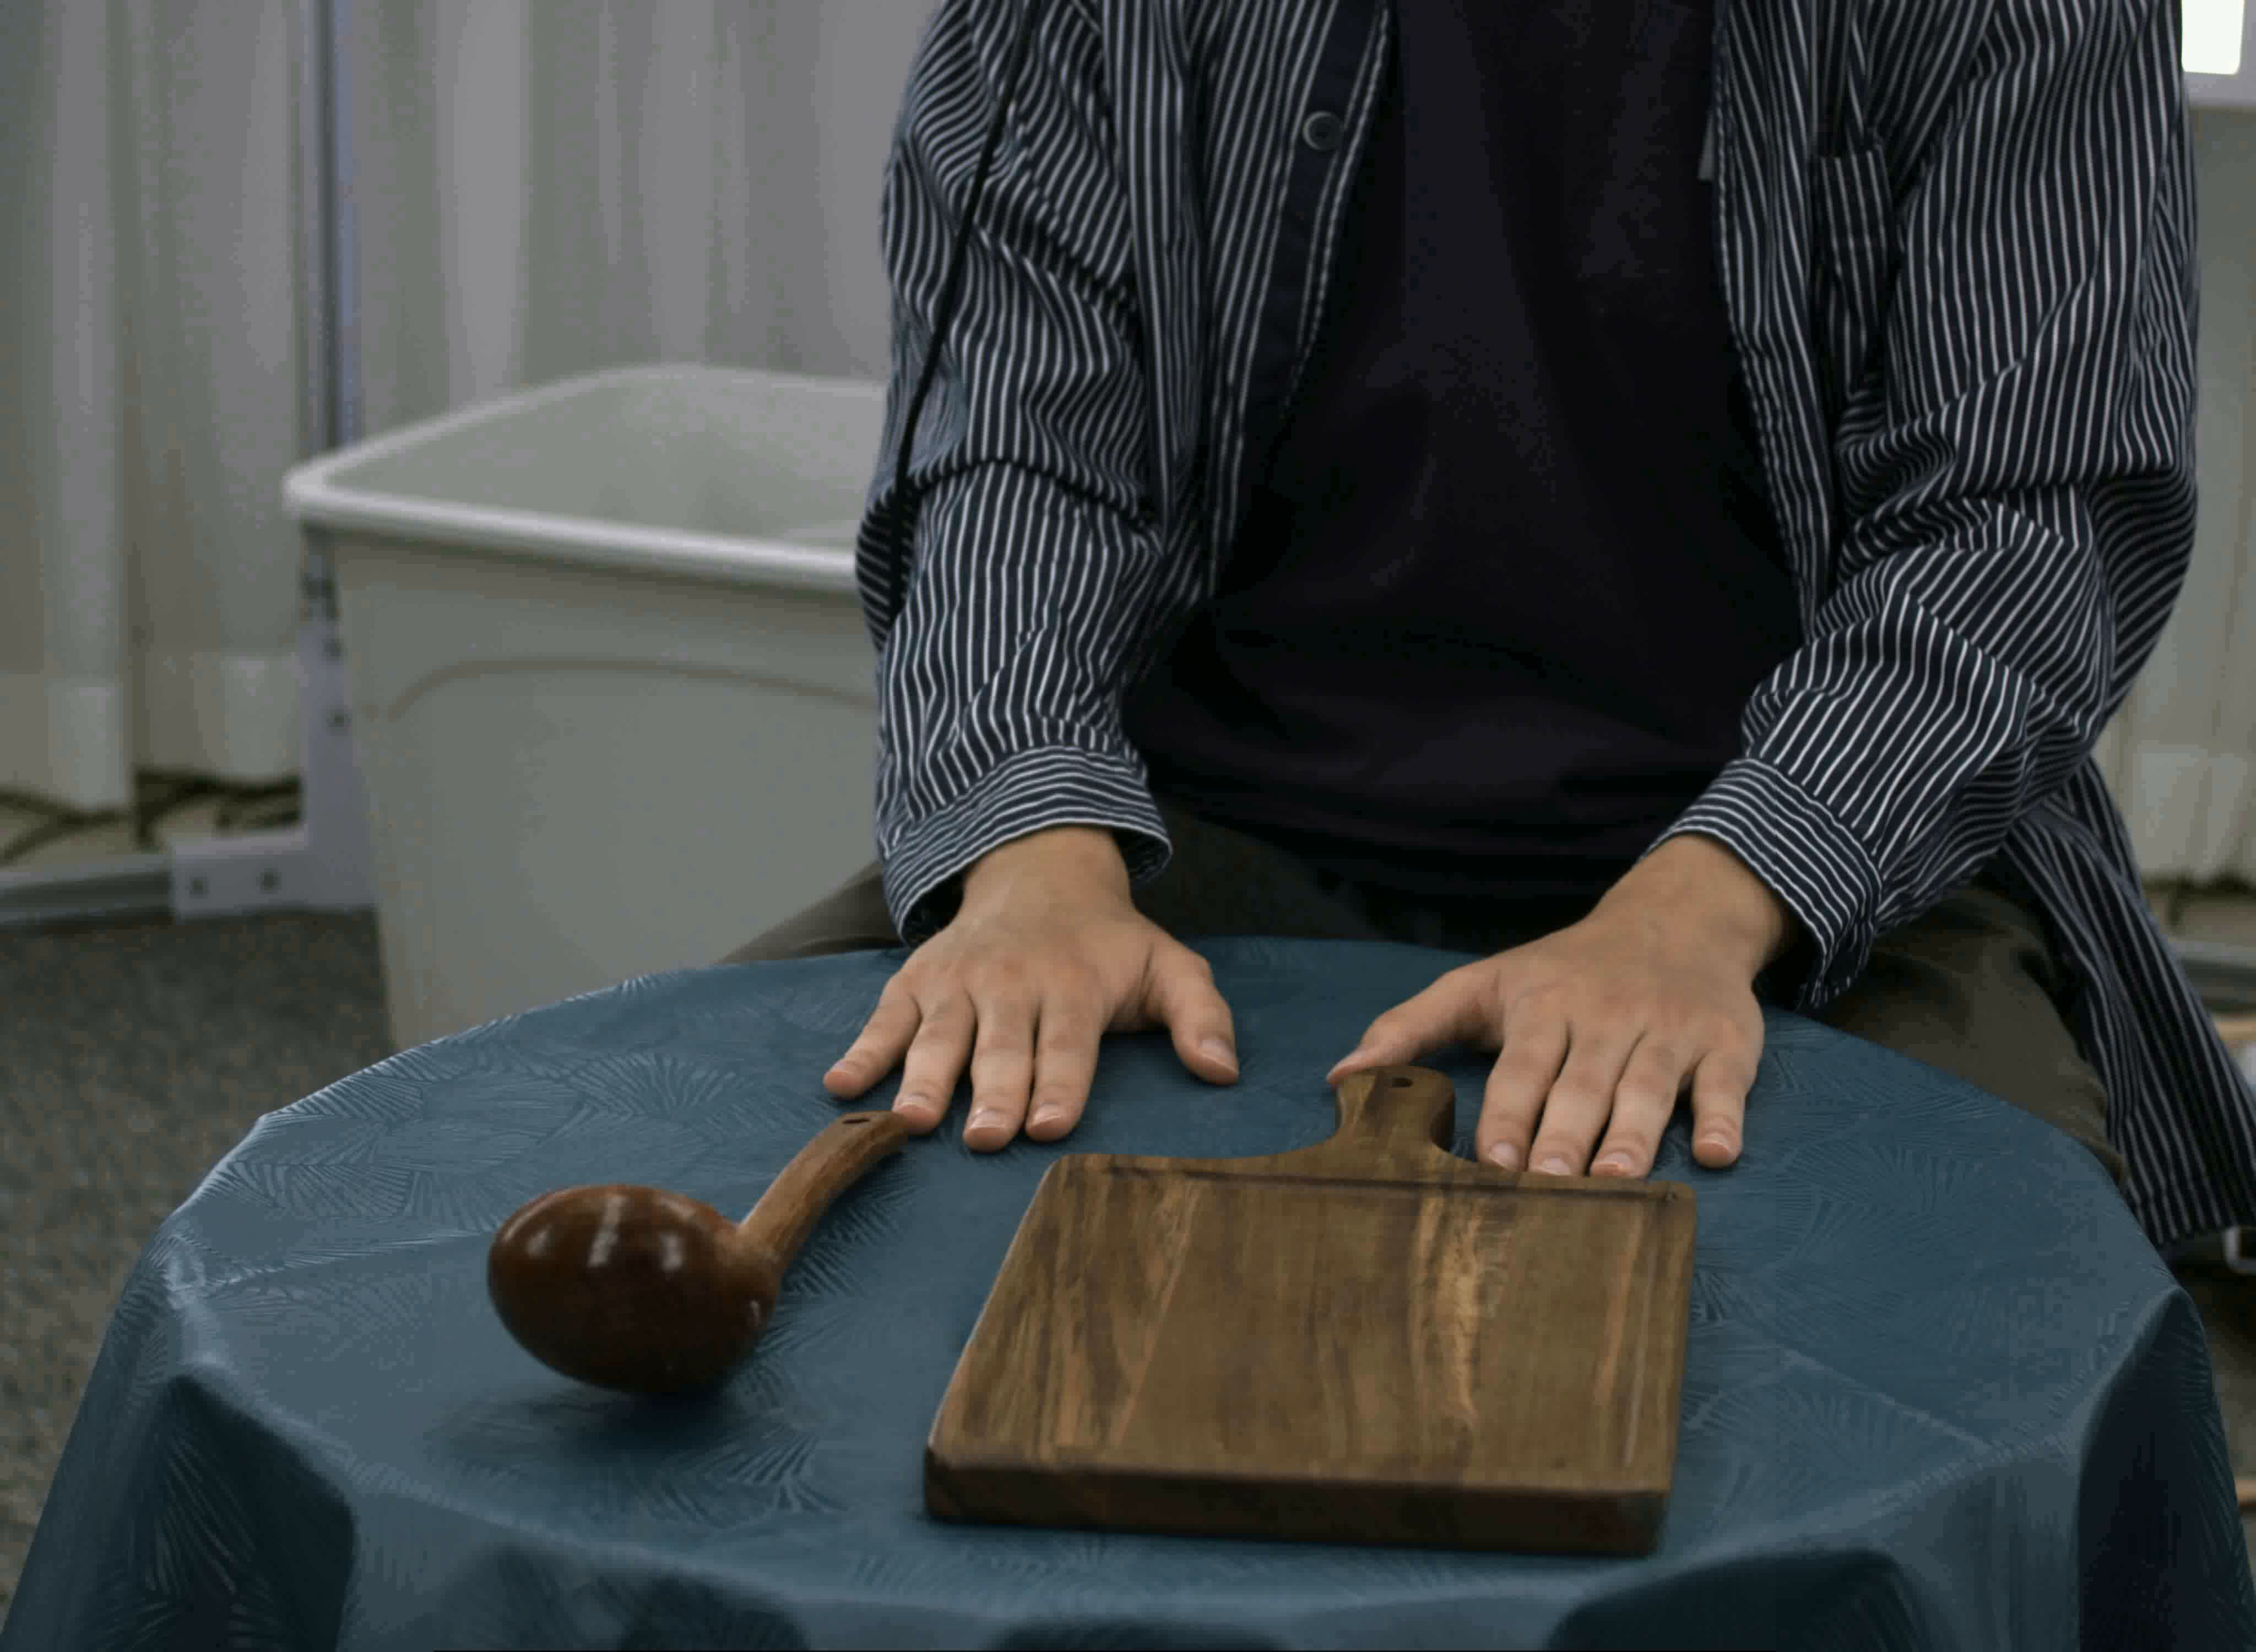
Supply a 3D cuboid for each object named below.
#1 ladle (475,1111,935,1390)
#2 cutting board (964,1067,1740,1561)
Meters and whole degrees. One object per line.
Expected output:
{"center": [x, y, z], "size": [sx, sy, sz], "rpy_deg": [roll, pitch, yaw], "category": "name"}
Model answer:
{"center": [-0.112, 0.098, 1.531], "size": [0.081, 0.077, 0.274], "rpy_deg": [0, 15, 15], "category": "ladle"}
{"center": [0.077, 0.131, 1.522], "size": [0.200, 0.023, 0.351], "rpy_deg": [3, 15, 8], "category": "cutting board"}
